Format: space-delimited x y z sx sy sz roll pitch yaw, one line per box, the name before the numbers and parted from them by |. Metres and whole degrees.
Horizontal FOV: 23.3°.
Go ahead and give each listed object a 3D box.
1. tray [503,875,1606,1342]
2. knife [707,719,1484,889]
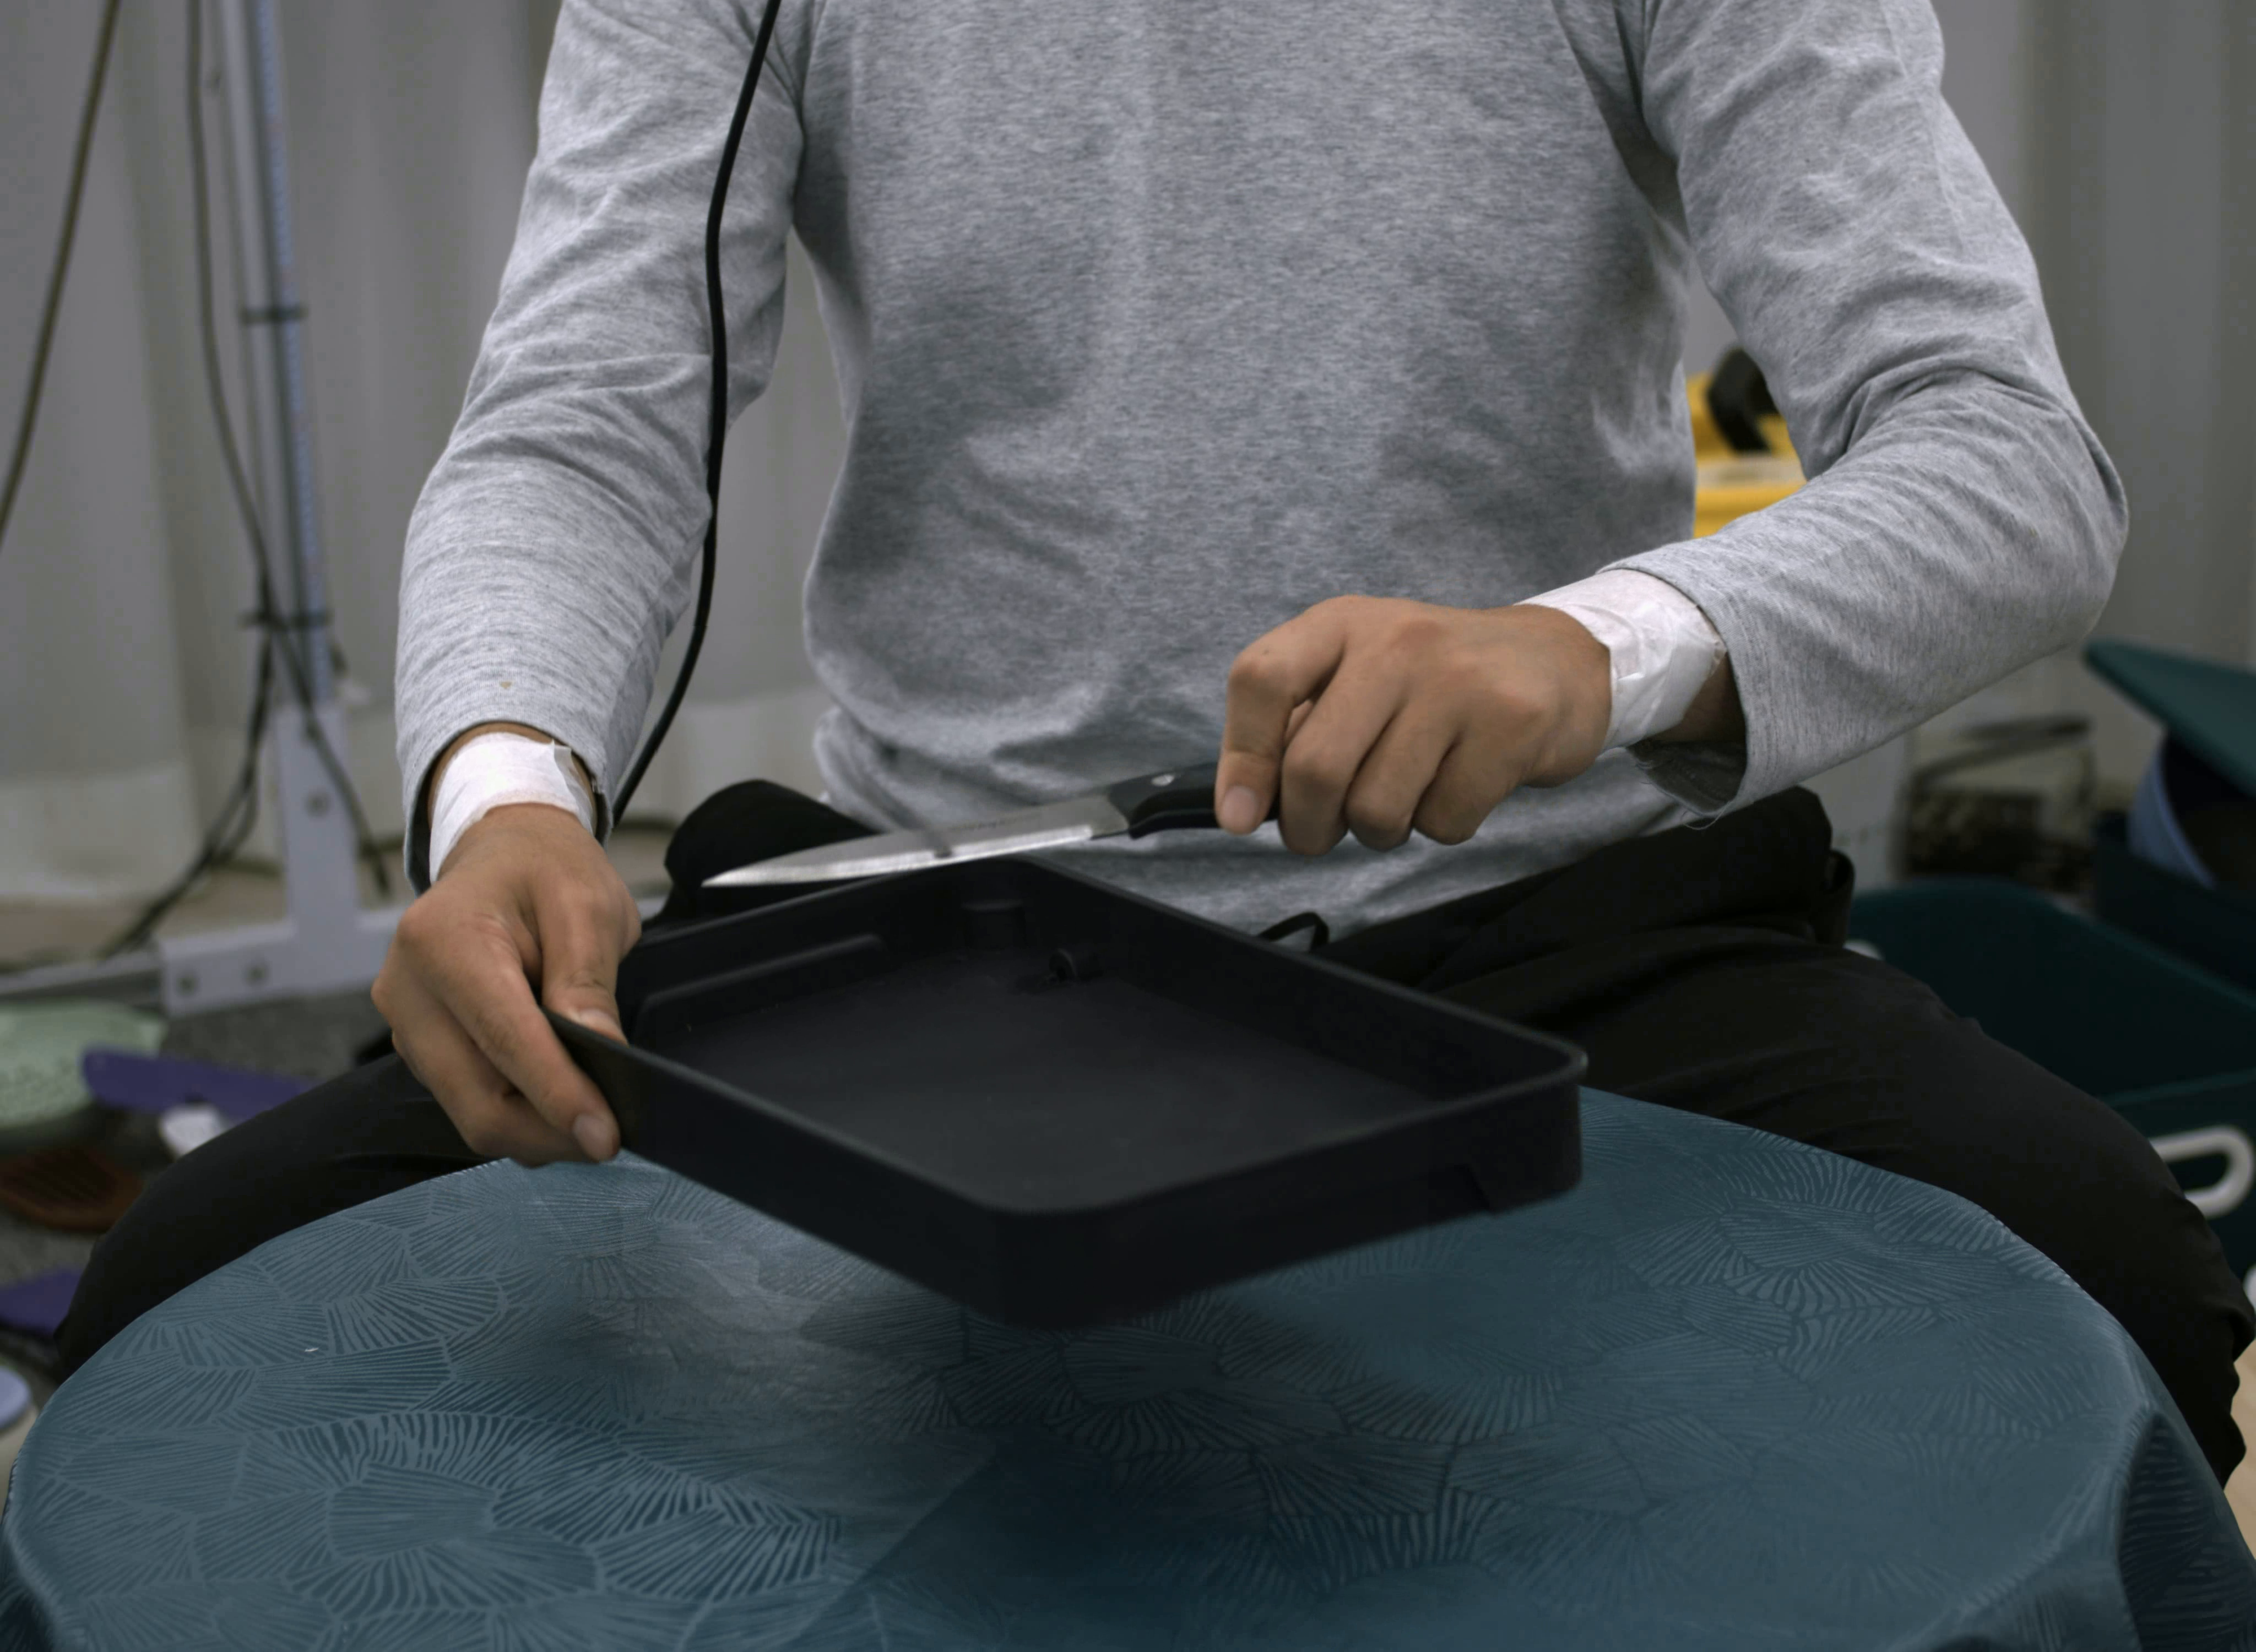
tray | -0.027 0.072 1.520 0.183 0.037 0.320 -14 16 -31
knife | -0.009 -0.005 1.604 0.237 0.016 0.025 -10 30 -15
